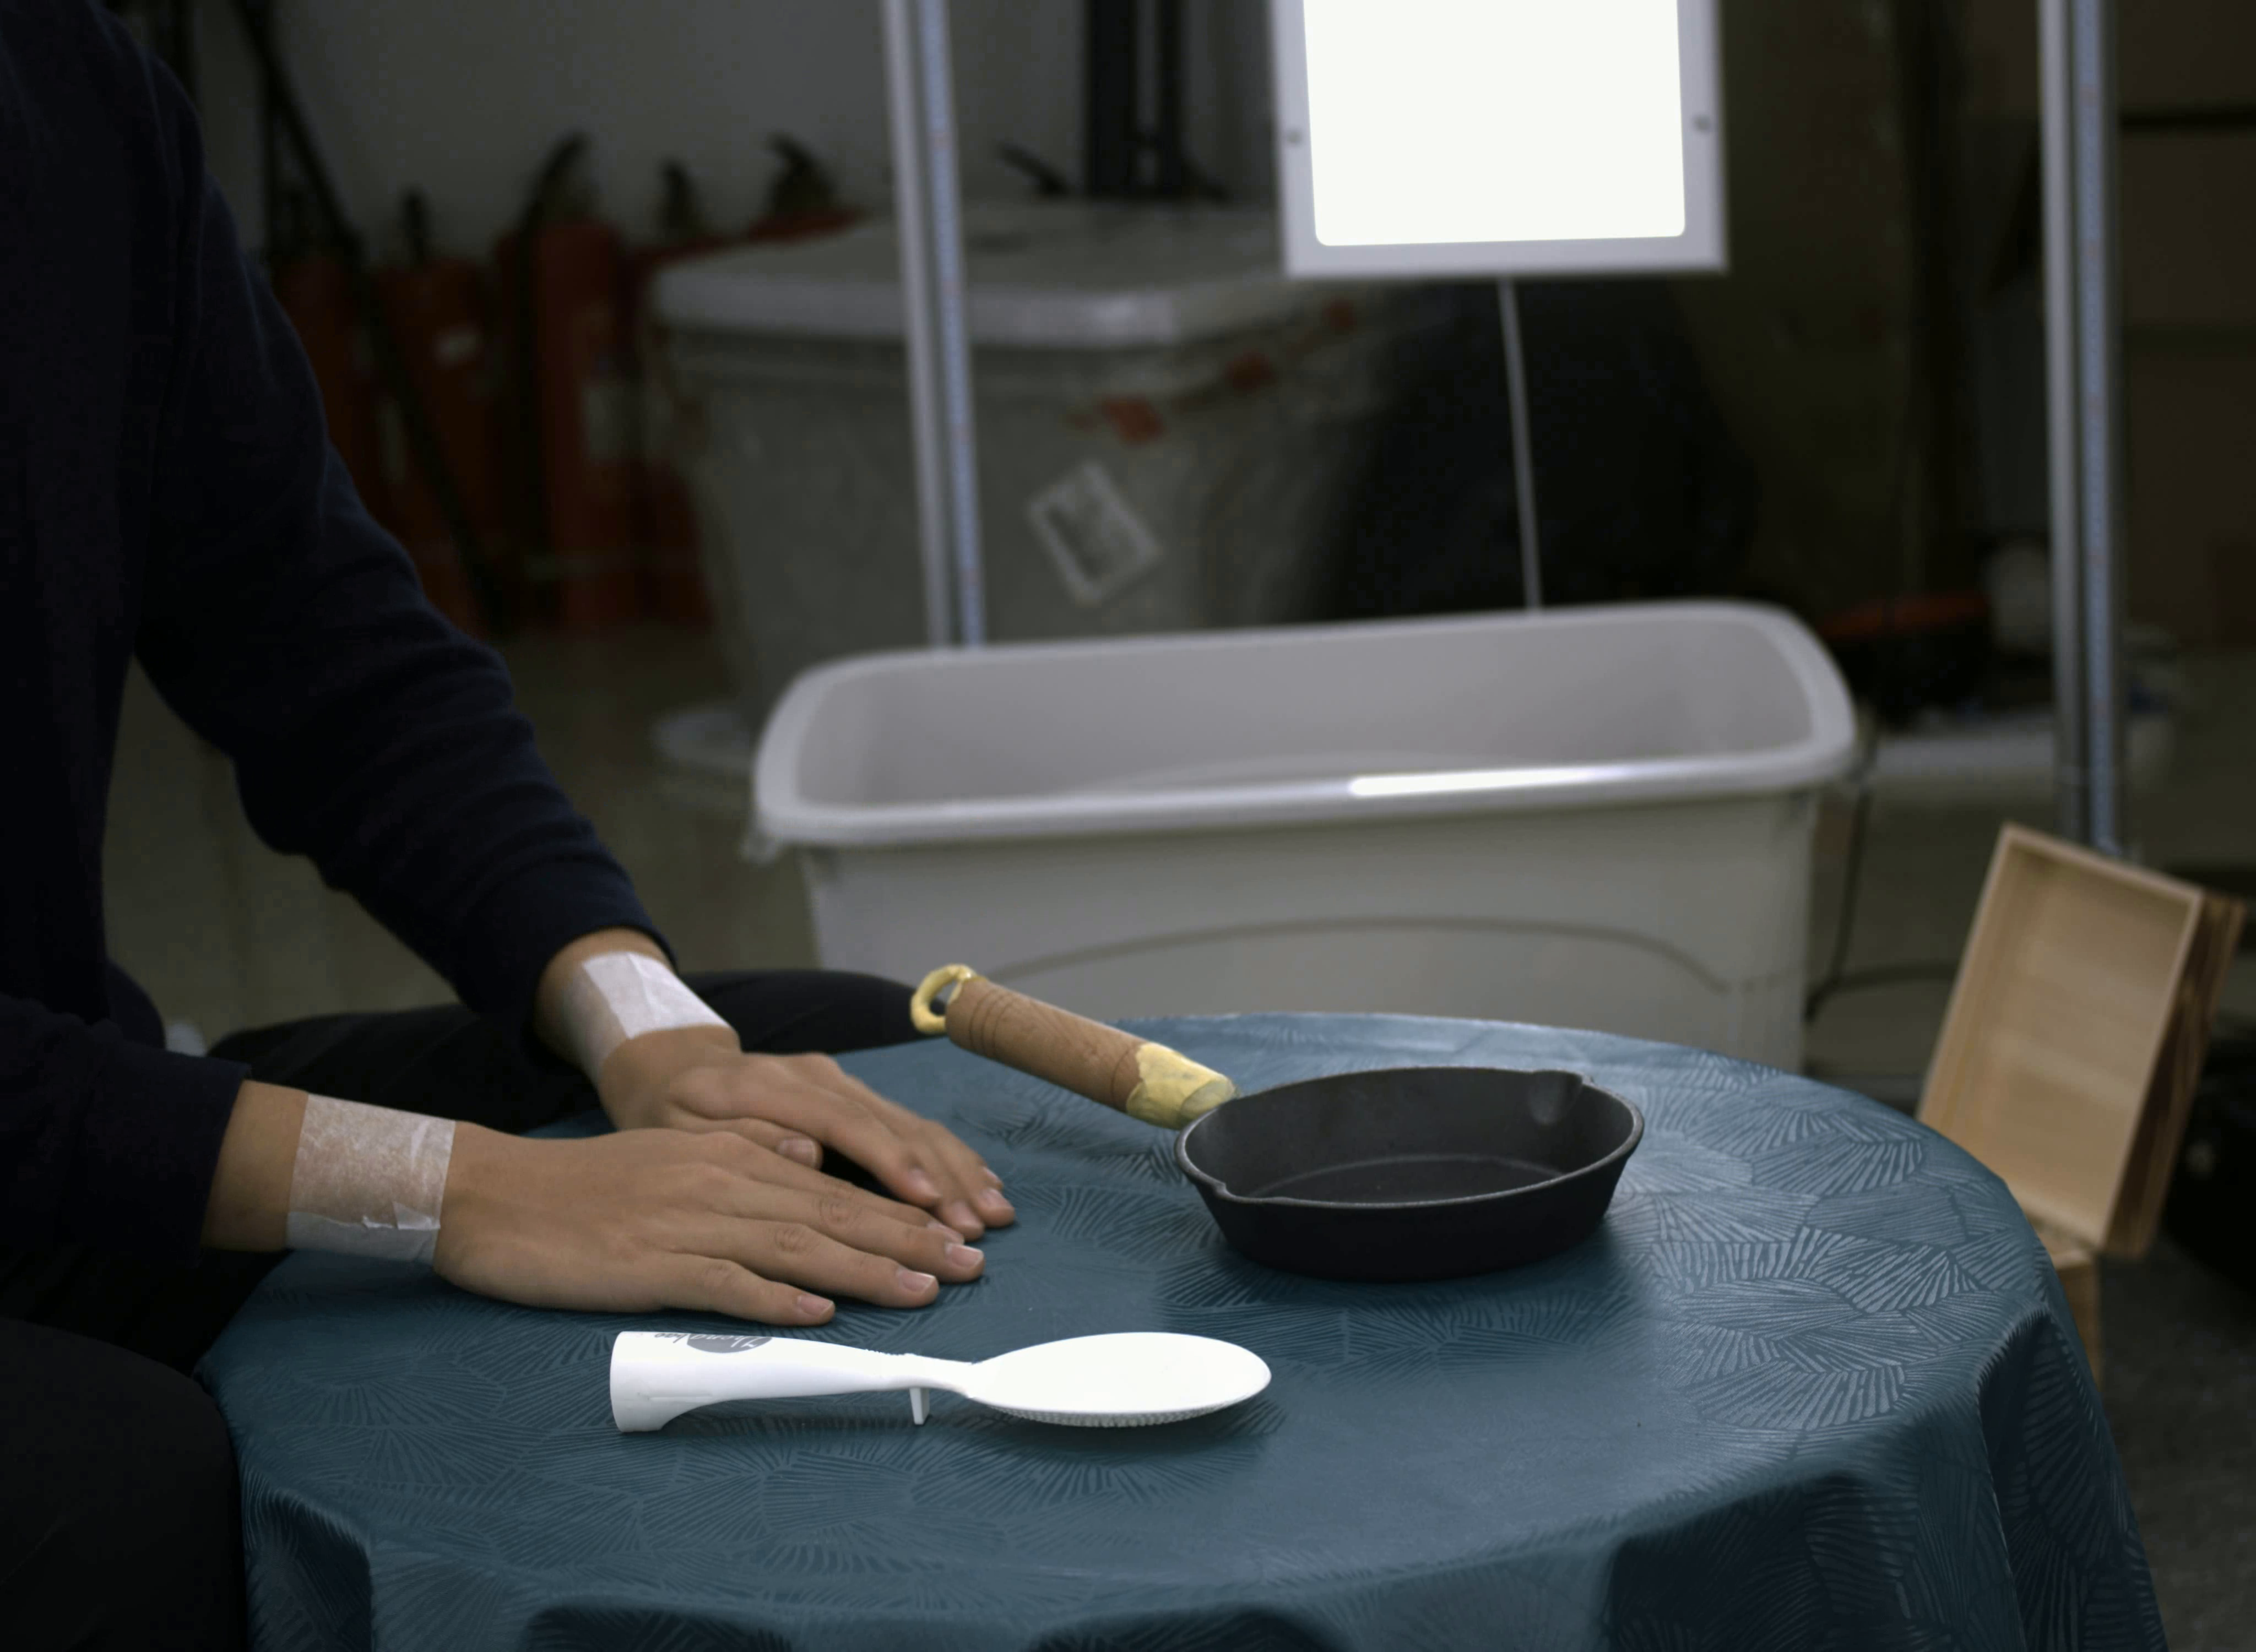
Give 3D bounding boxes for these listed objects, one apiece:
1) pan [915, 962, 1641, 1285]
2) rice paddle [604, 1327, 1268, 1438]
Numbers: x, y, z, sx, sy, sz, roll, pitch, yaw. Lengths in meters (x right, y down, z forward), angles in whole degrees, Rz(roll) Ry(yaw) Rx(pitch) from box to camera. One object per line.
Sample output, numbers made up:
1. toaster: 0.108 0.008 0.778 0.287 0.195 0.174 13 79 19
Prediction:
1. pan: 0.038 0.097 1.896 0.164 0.050 0.331 -16 19 -38
2. rice paddle: -0.058 0.168 1.689 0.206 0.029 0.068 -3 16 11
